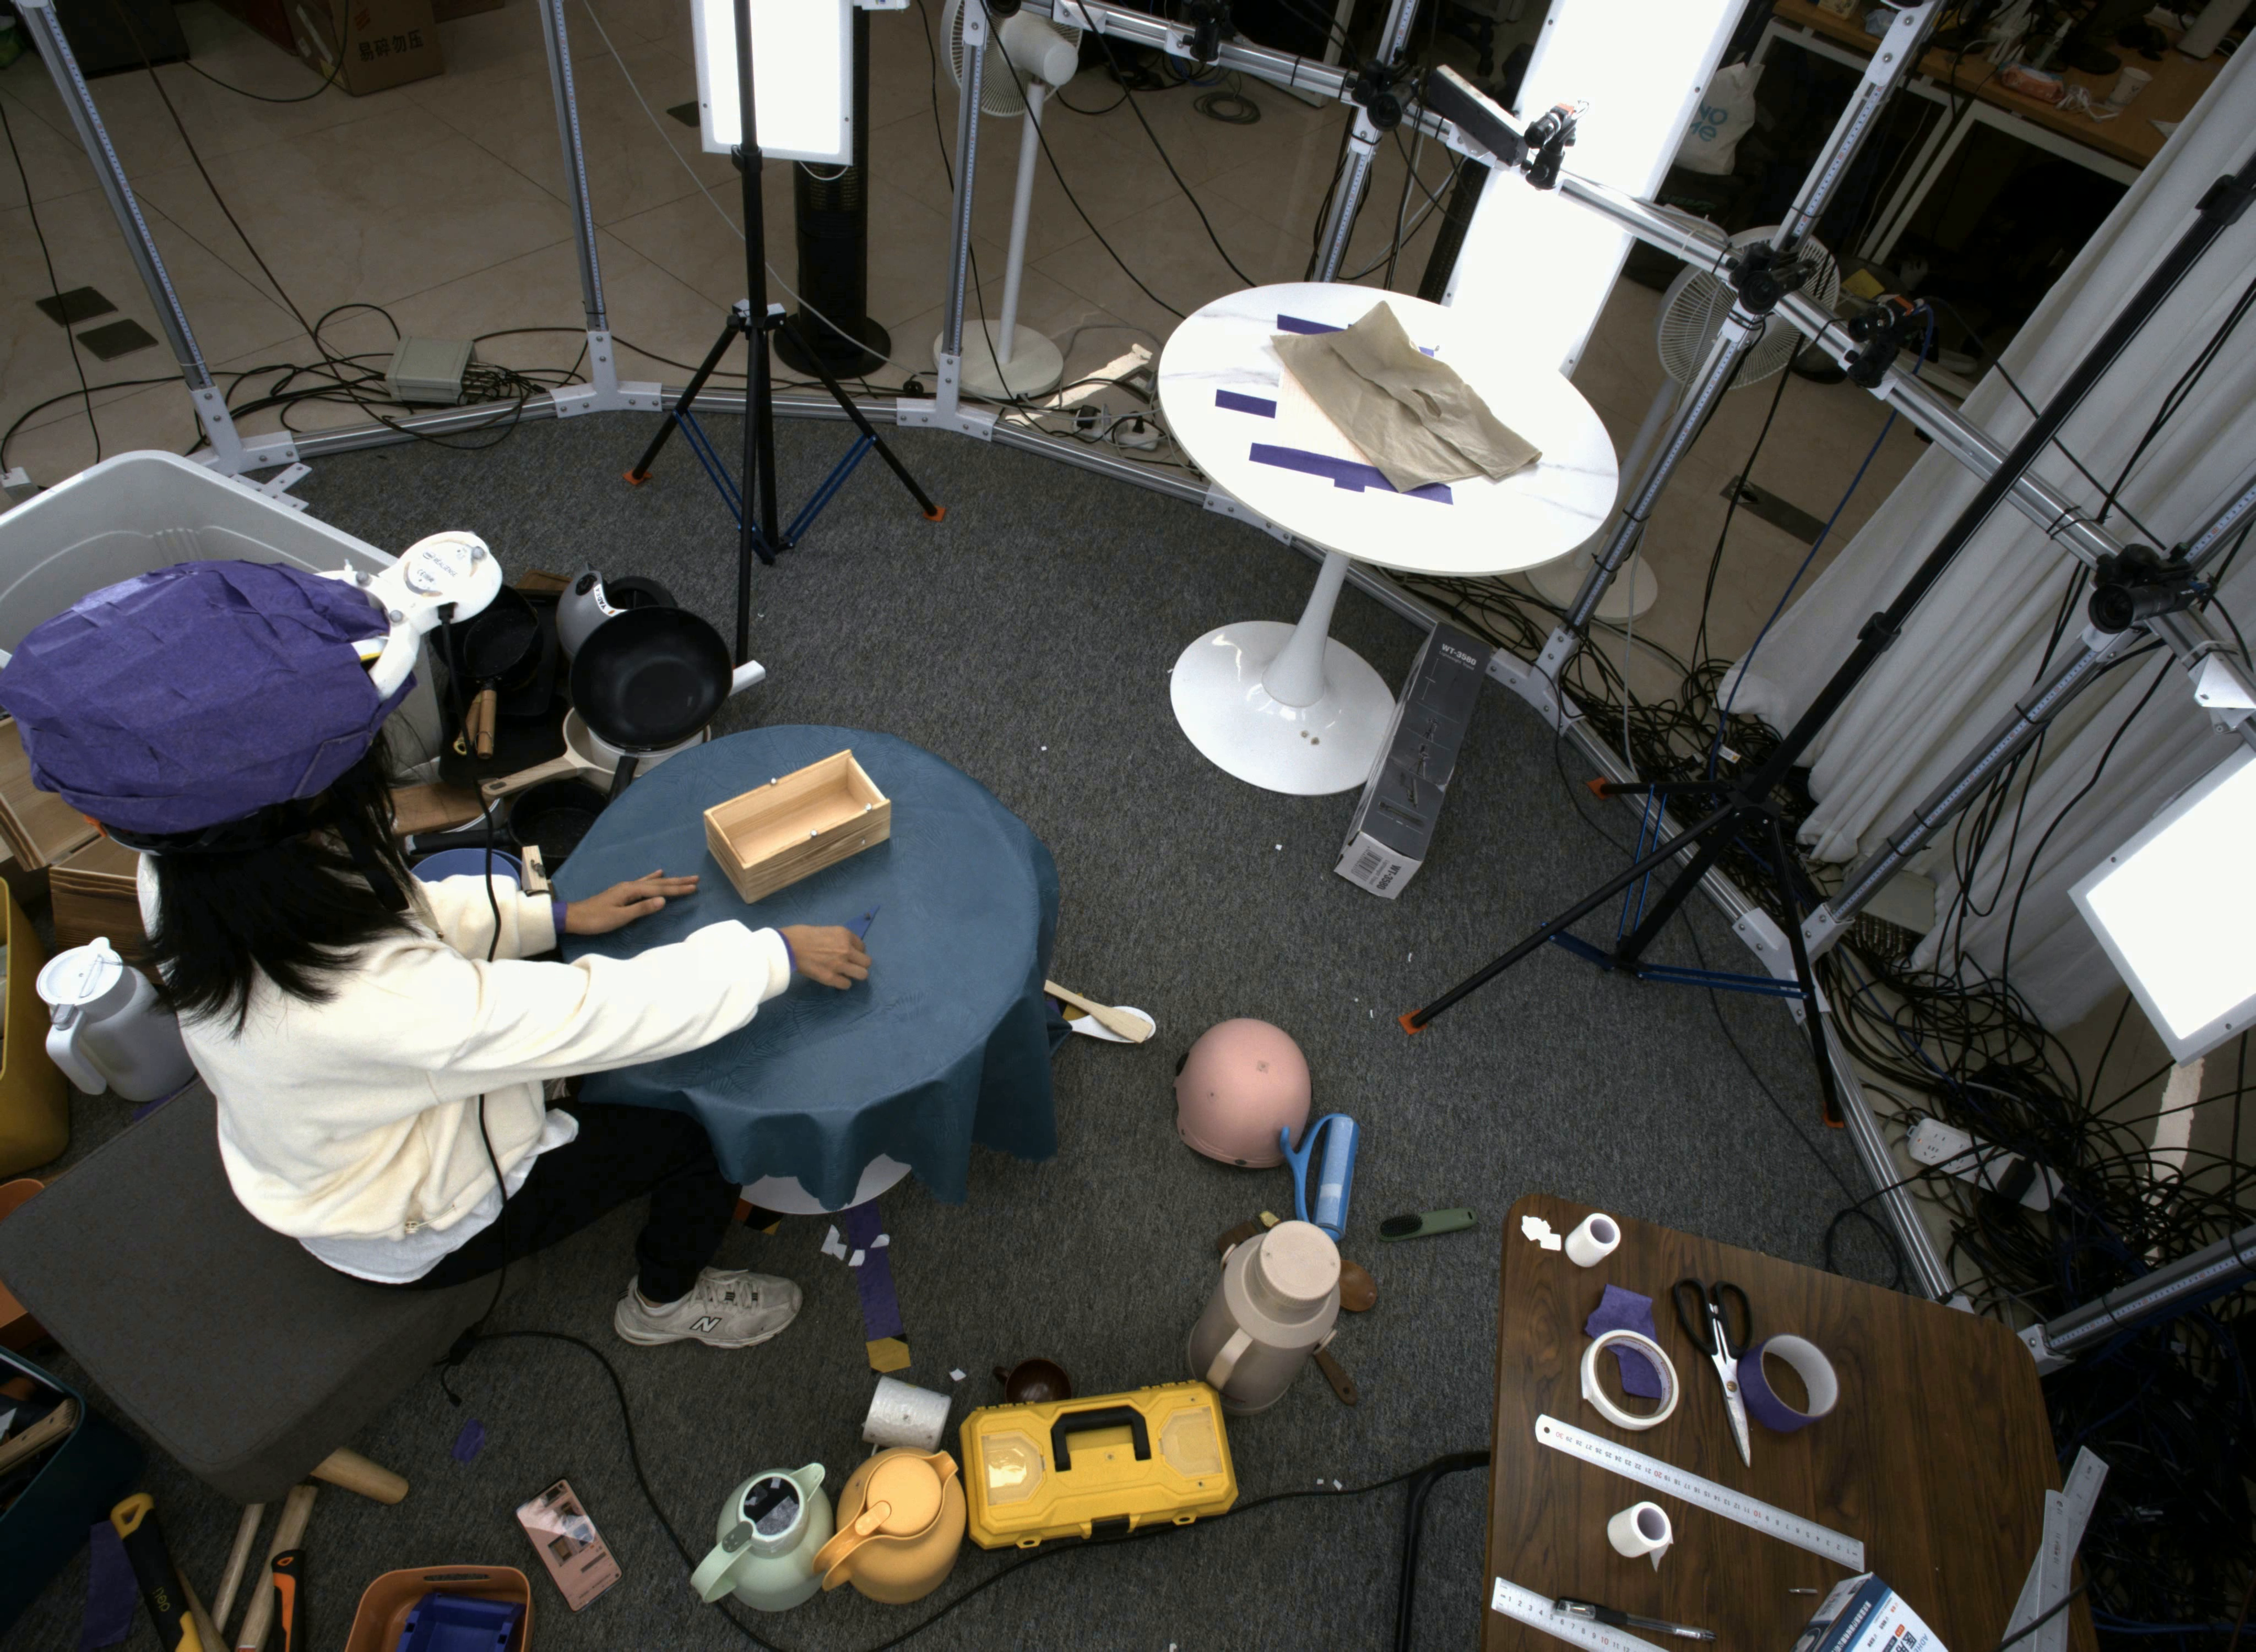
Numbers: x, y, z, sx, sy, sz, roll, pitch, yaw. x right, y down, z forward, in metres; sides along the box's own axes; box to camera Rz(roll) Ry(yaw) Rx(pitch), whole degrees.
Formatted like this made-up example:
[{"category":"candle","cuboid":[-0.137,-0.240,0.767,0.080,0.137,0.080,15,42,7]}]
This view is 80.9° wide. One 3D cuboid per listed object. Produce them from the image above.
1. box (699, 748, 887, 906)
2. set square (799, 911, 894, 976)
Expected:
[{"category":"box","cuboid":[-0.428,-0.002,1.668,0.212,0.082,0.105,-29,63,-31]},{"category":"set square","cuboid":[-0.340,0.148,1.626,0.132,0.007,0.059,-28,60,-30]}]
